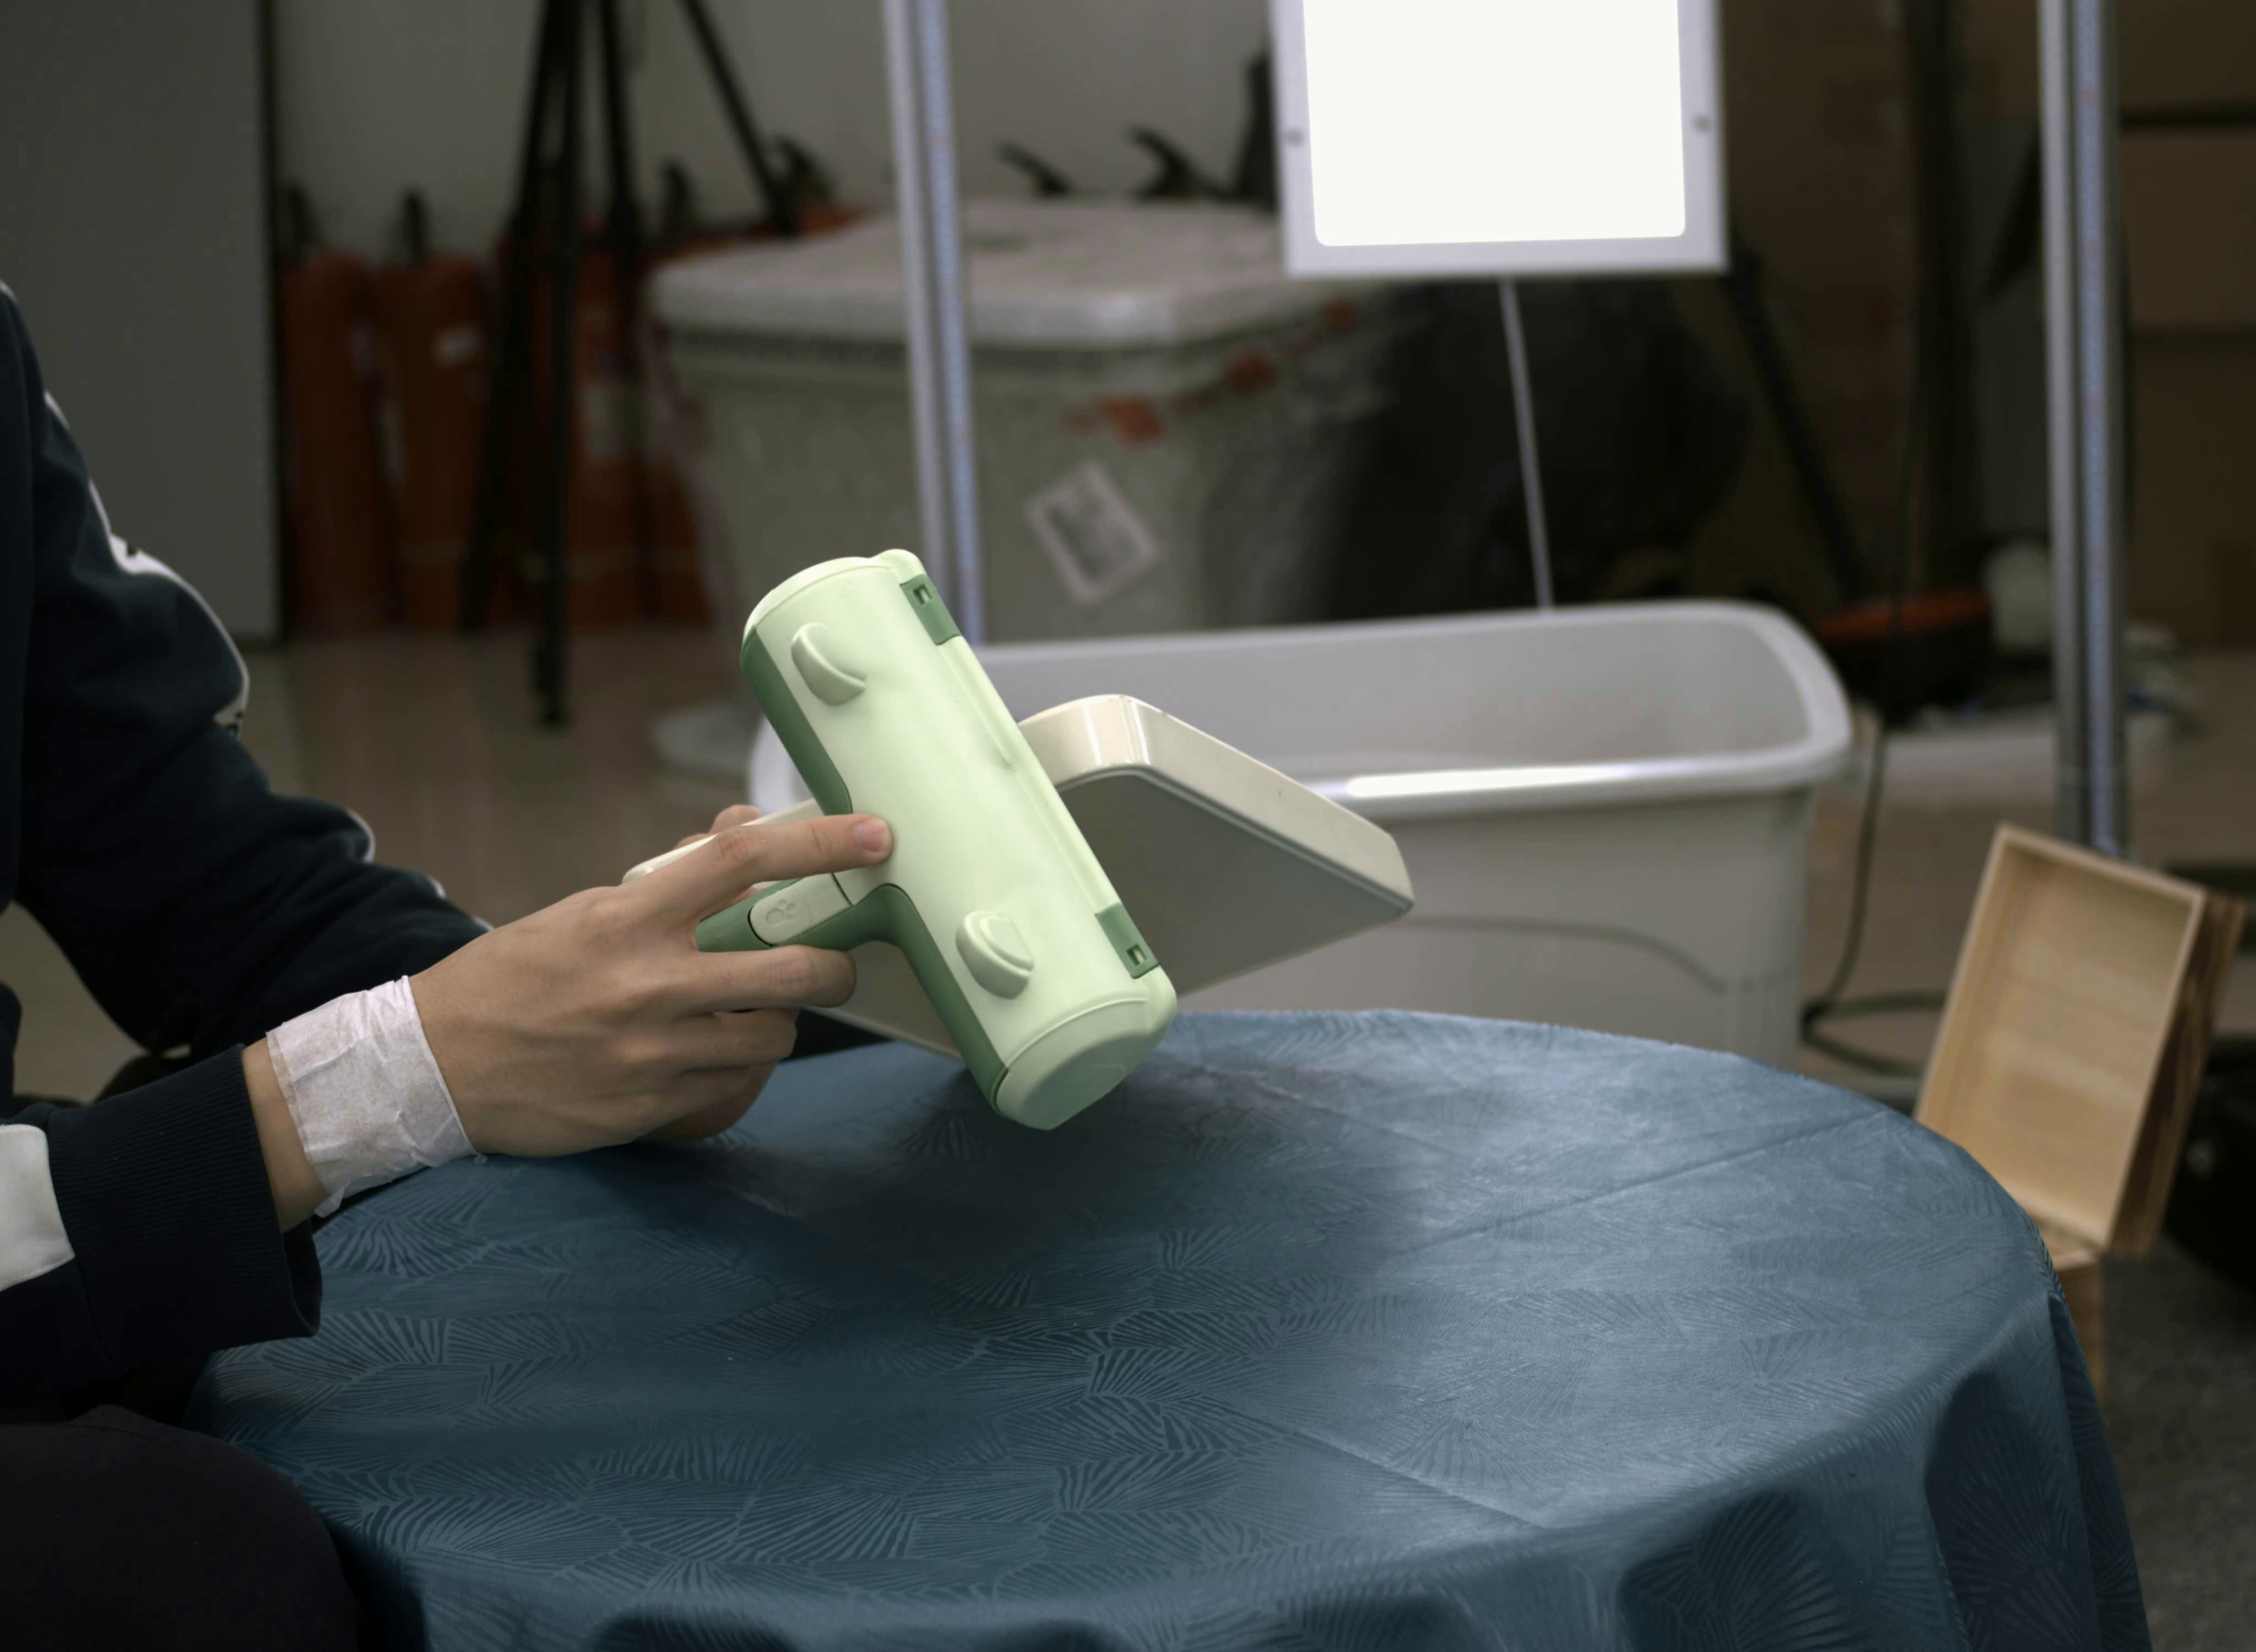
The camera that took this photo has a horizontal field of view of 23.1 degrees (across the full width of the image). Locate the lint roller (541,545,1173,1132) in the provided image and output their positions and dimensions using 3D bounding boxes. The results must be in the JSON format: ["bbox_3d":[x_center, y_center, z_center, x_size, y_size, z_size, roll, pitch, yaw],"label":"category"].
[{"bbox_3d":[-0.107,0.025,1.717,0.182,0.200,0.082,-28,-26,-4],"label":"lint roller"}]

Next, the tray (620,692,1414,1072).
[{"bbox_3d":[-0.031,0.025,1.909,0.194,0.027,0.295,-21,-18,18],"label":"tray"}]
